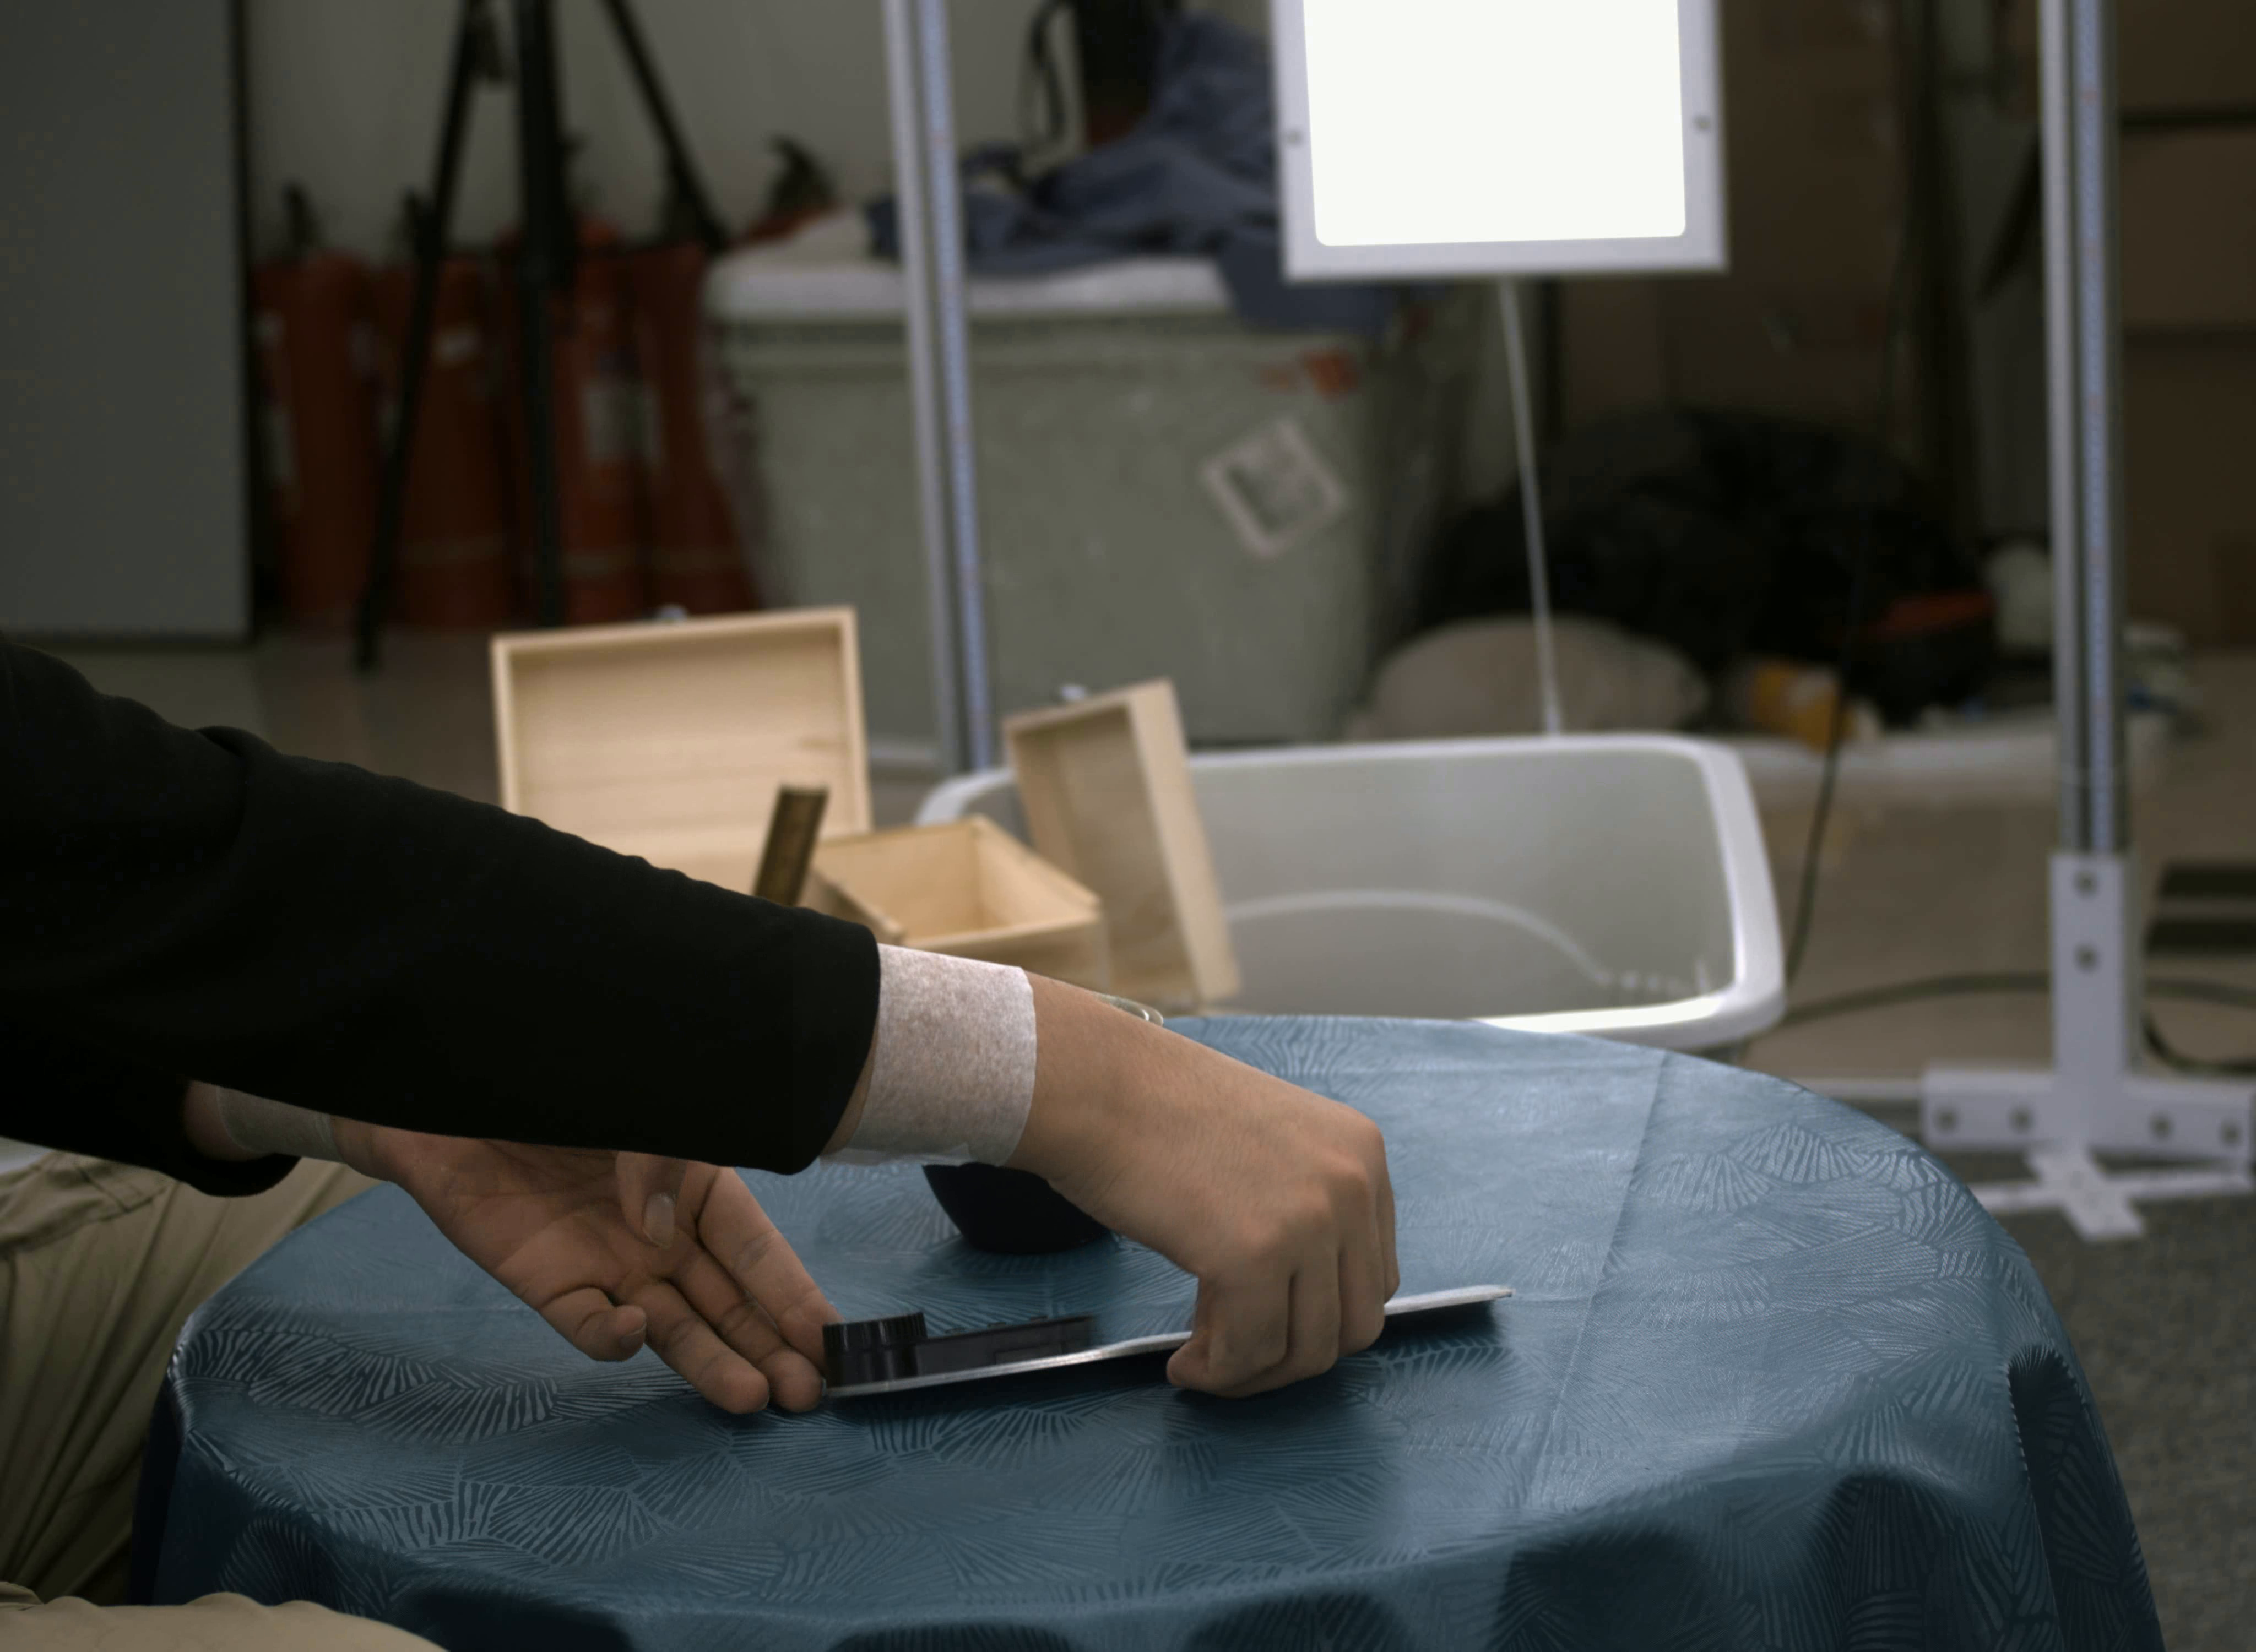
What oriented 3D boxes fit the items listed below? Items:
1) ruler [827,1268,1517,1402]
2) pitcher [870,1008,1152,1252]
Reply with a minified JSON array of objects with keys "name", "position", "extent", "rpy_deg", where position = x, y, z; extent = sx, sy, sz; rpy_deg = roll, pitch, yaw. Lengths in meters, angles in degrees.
[{"name":"ruler","position":[0.013,0.151,1.725],"extent":[0.216,0.024,0.038],"rpy_deg":[-8,7,-8]},{"name":"pitcher","position":[-0.038,0.102,1.858],"extent":[0.096,0.071,0.083],"rpy_deg":[-1,15,11]}]
